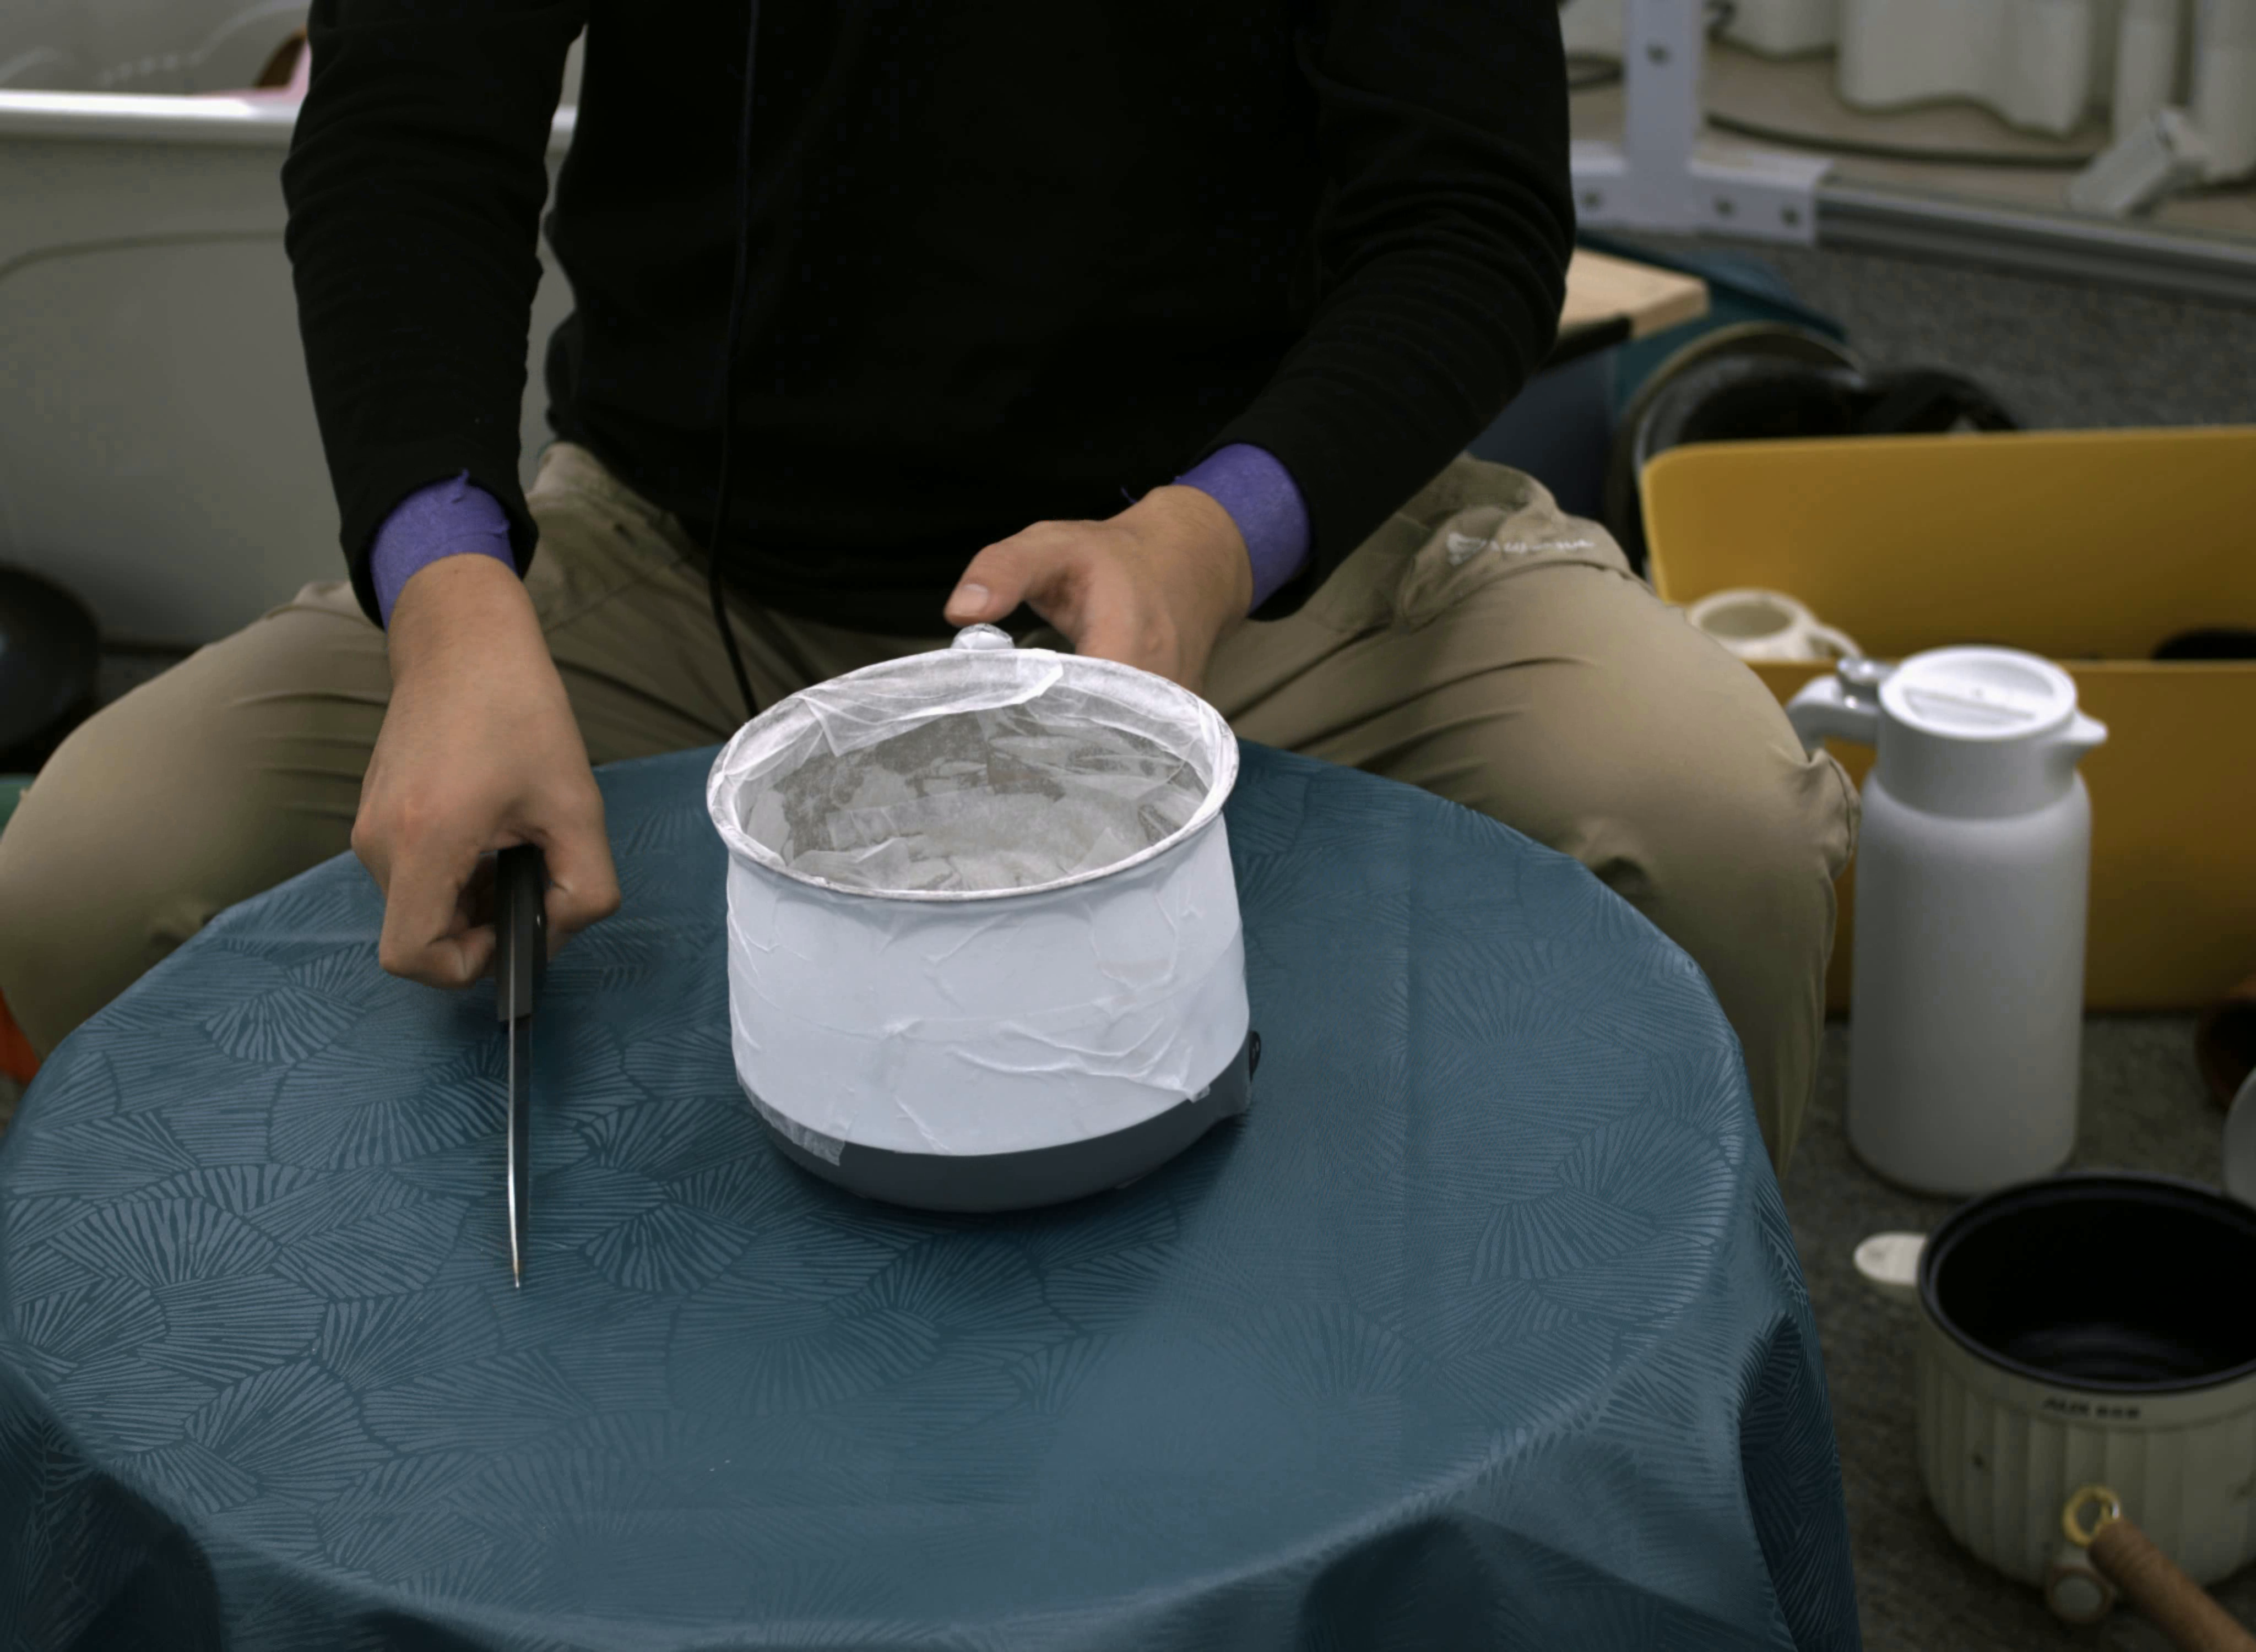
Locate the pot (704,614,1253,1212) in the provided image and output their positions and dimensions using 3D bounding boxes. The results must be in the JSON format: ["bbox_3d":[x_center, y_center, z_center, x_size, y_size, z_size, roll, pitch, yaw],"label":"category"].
[{"bbox_3d":[-0.049,0.022,1.904,0.178,0.135,0.237,-2,28,0],"label":"pot"}]

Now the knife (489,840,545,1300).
[{"bbox_3d":[-0.208,0.079,1.912,0.016,0.024,0.242,-18,36,8],"label":"knife"}]
